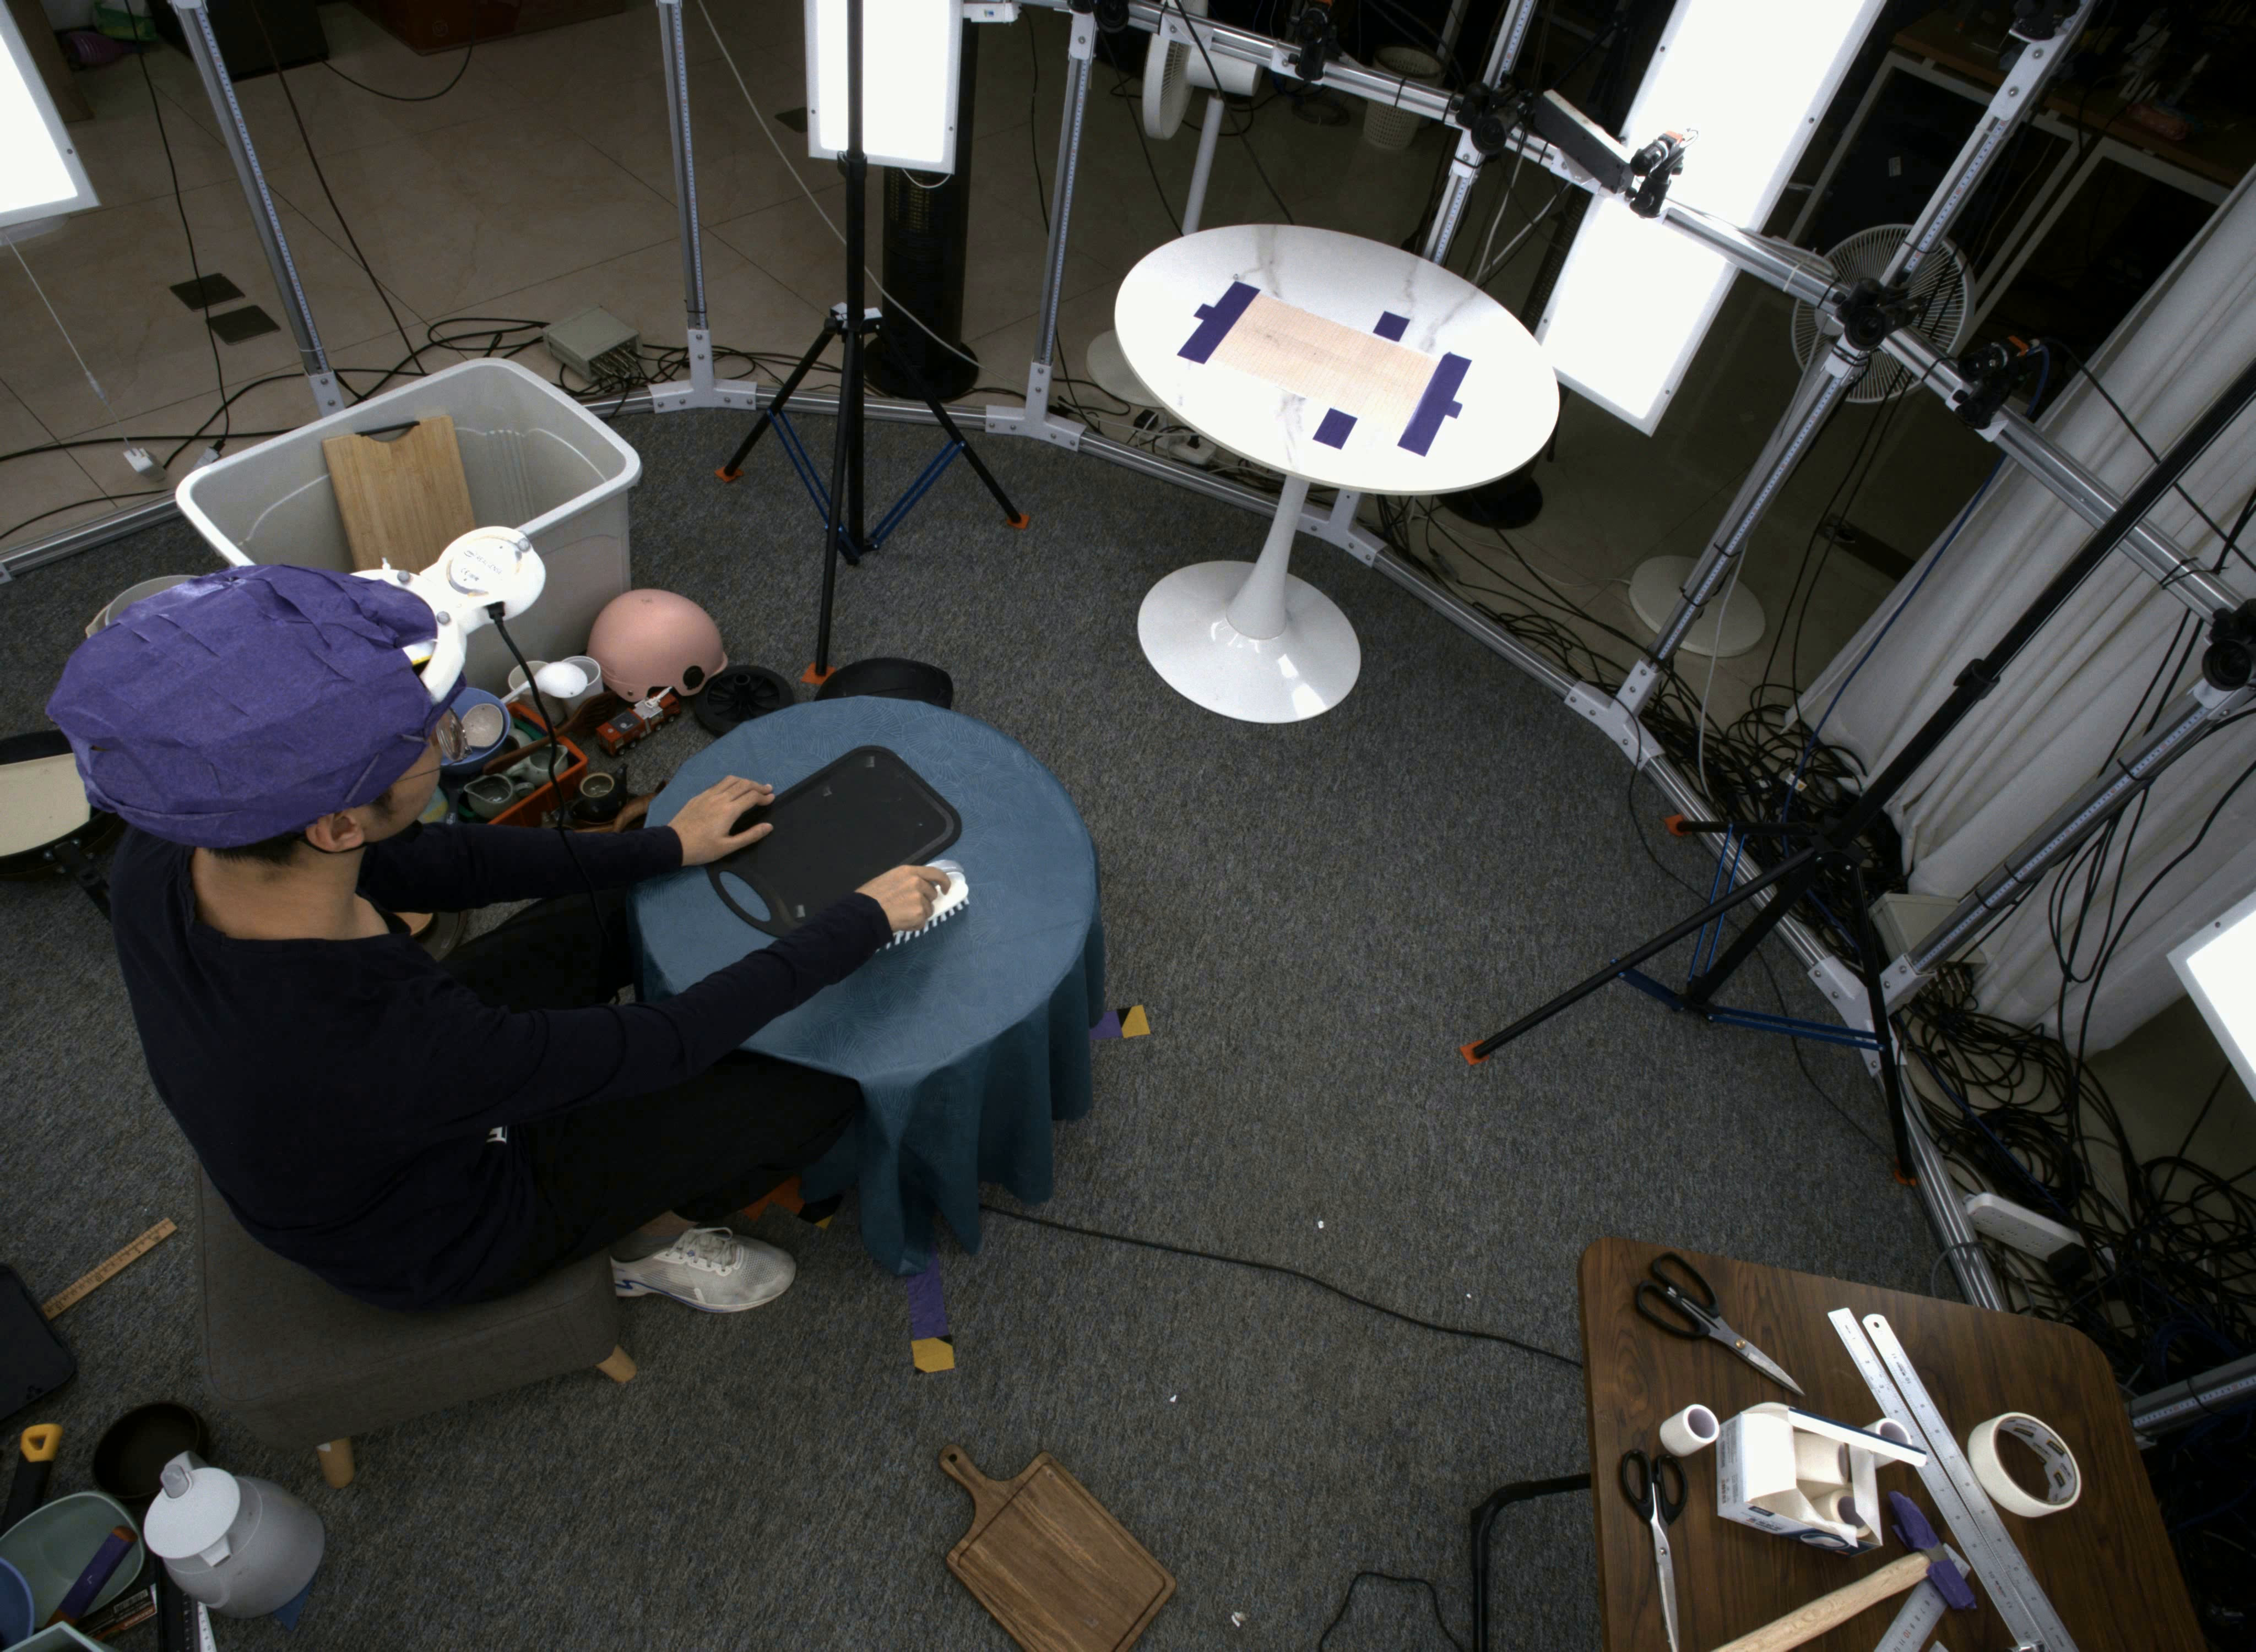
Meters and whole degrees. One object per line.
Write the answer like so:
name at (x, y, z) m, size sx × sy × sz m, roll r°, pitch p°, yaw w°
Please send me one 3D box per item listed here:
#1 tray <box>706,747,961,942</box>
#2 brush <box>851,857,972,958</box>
tray at (-0.391, 0.020, 1.714) m, size 0.206 × 0.010 × 0.326 m, roll 42°, pitch 56°, yaw 18°
brush at (-0.276, 0.097, 1.631) m, size 0.176 × 0.096 × 0.060 m, roll -31°, pitch 63°, yaw -28°
